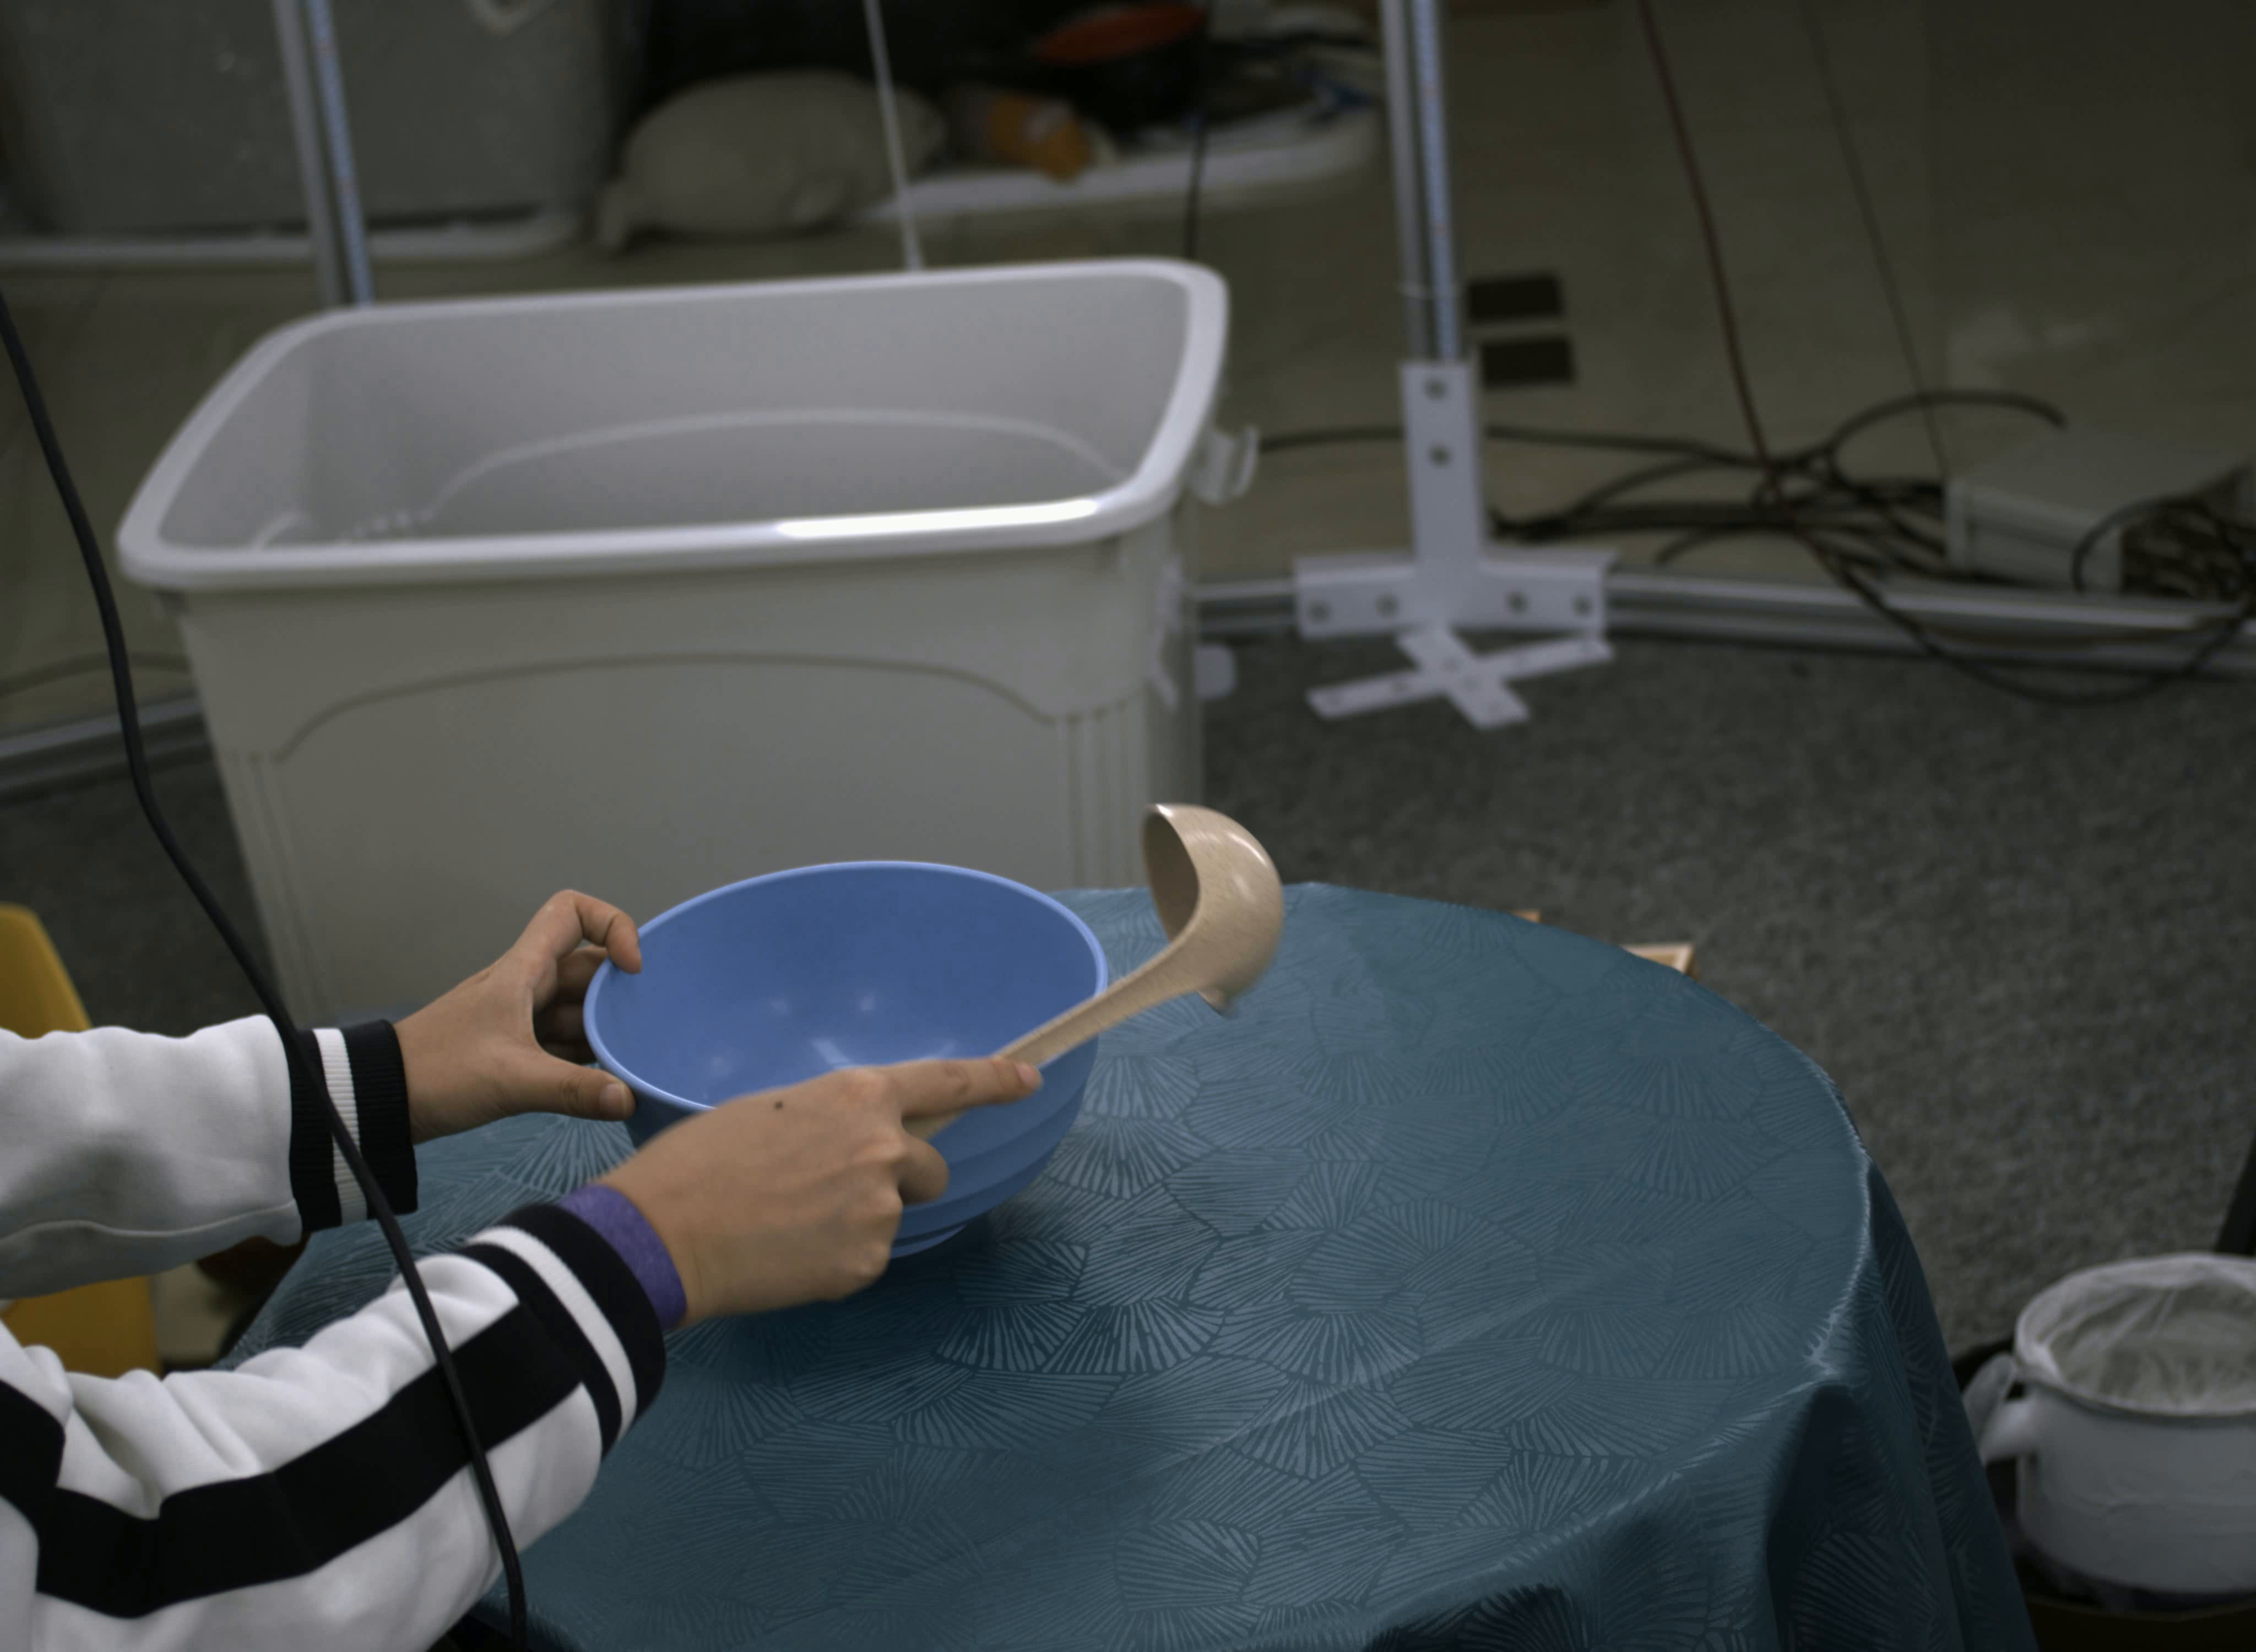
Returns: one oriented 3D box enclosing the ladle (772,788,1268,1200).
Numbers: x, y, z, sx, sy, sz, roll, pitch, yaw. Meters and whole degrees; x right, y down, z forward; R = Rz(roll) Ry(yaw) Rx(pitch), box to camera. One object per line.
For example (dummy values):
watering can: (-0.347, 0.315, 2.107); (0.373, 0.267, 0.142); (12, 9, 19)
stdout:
ladle: (-0.052, 0.058, 1.898); (0.072, 0.073, 0.252); (24, 38, 37)

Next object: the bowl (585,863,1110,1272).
bowl: (-0.102, 0.104, 2.136); (0.196, 0.097, 0.193); (-2, 31, 1)
